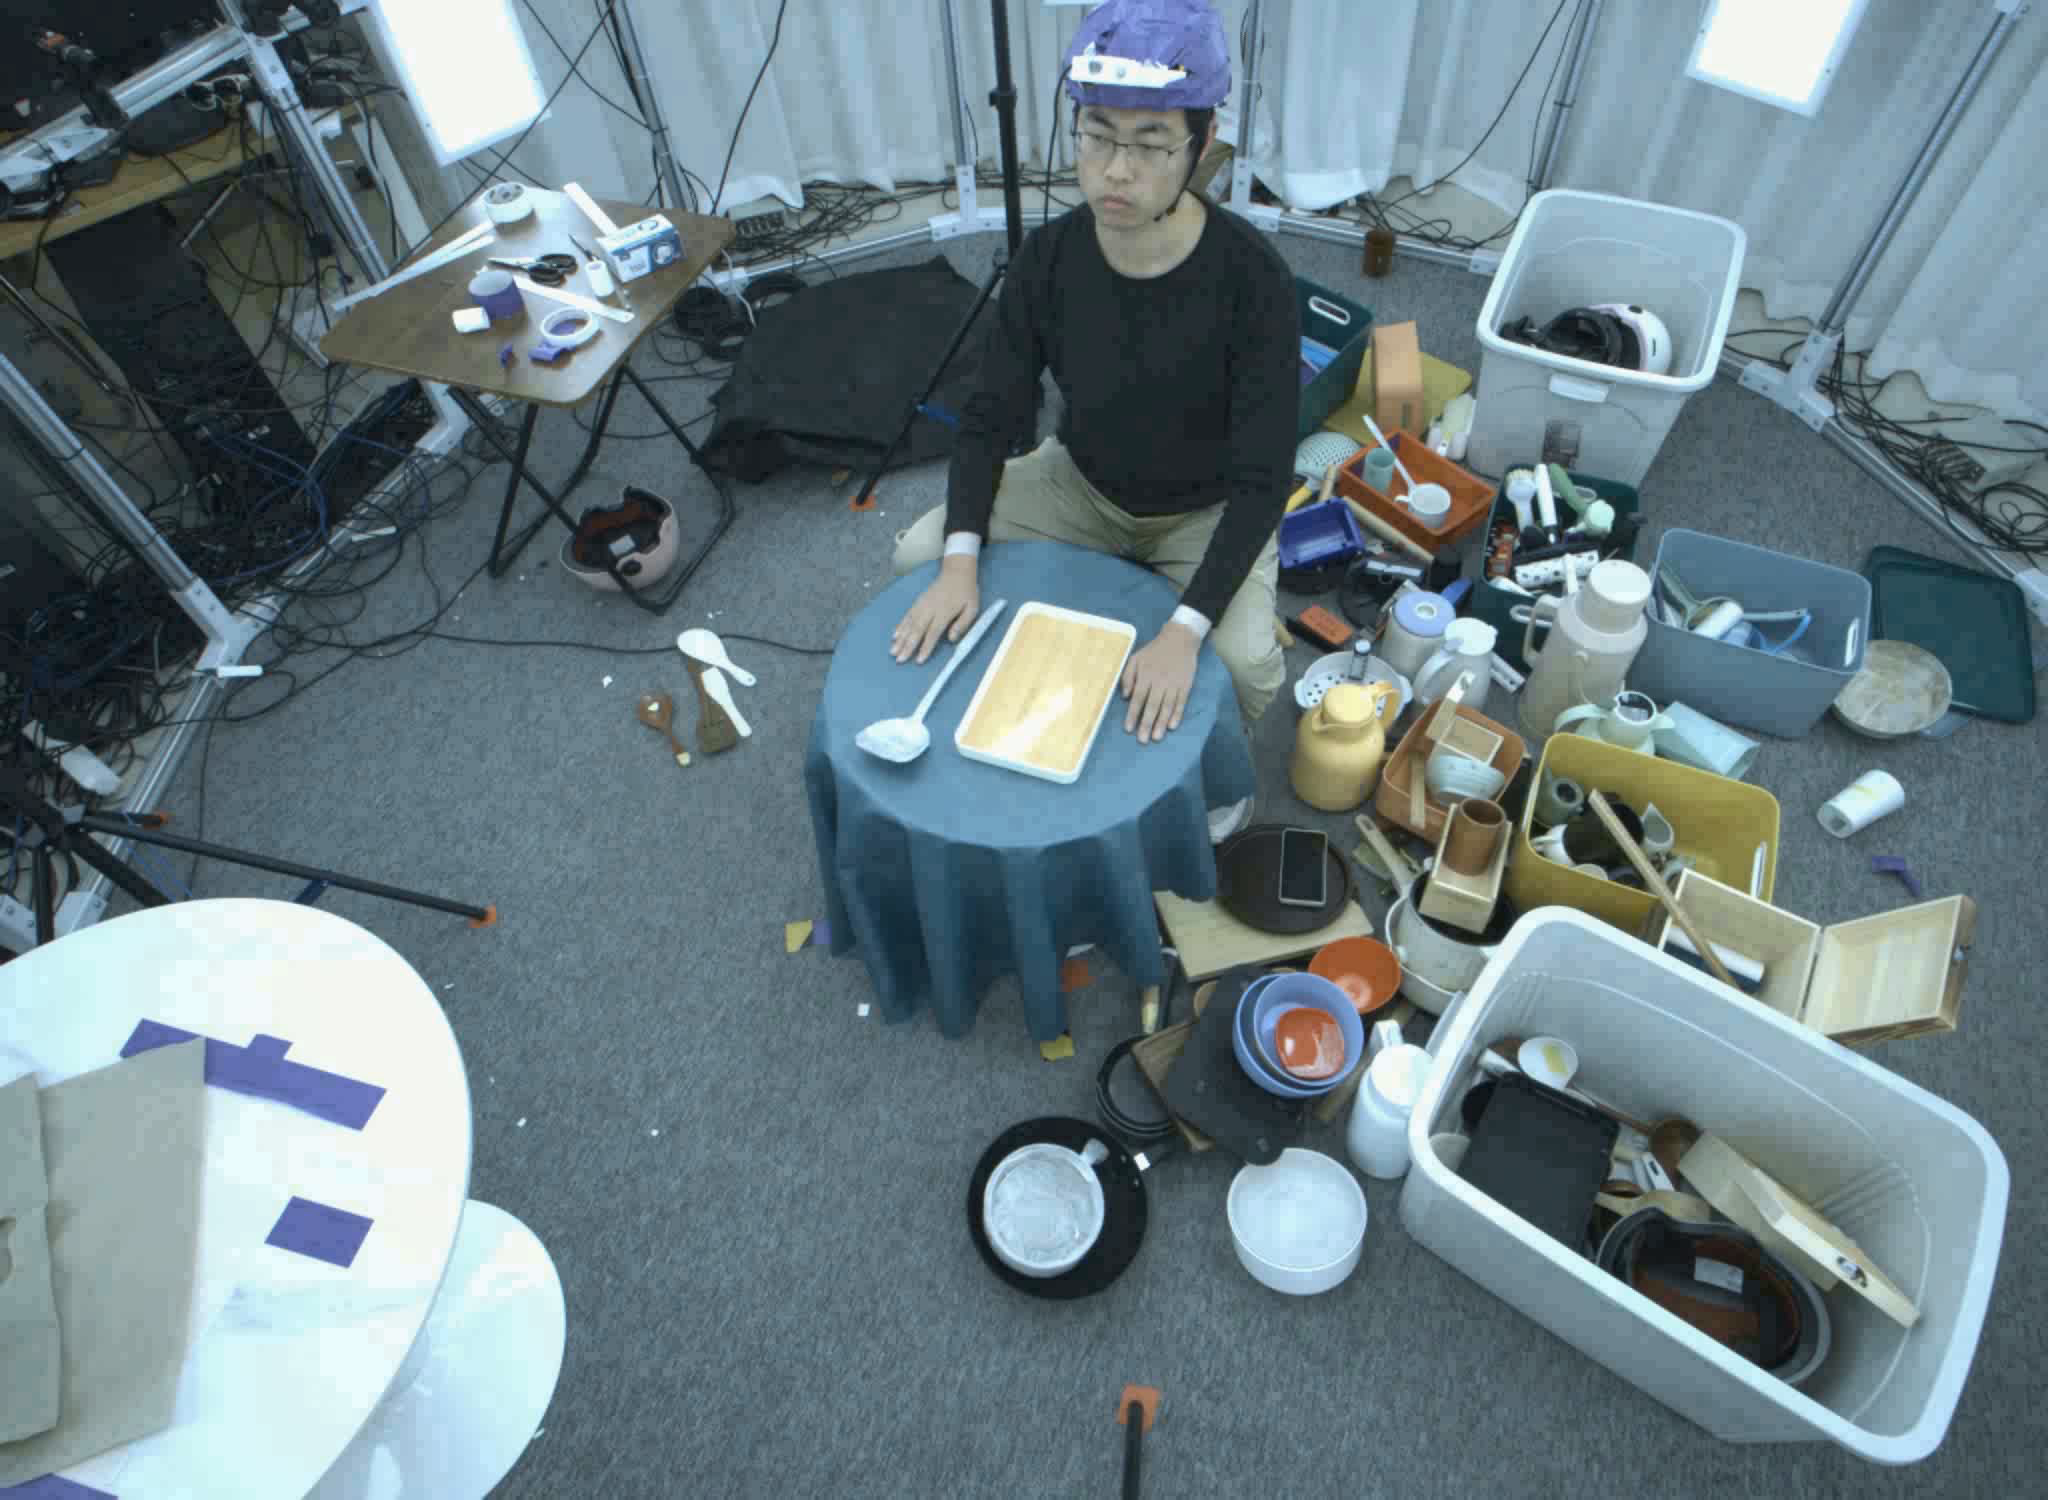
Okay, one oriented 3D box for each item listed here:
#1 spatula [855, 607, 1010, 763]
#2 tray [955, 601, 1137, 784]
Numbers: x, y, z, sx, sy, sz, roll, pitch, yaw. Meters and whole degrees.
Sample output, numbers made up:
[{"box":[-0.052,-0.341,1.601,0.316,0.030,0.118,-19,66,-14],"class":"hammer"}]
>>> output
[{"box":[-0.121,-0.111,1.847,0.097,0.045,0.365,23,59,18],"class":"spatula"},{"box":[0.037,-0.092,1.835,0.189,0.028,0.300,16,57,13],"class":"tray"}]
